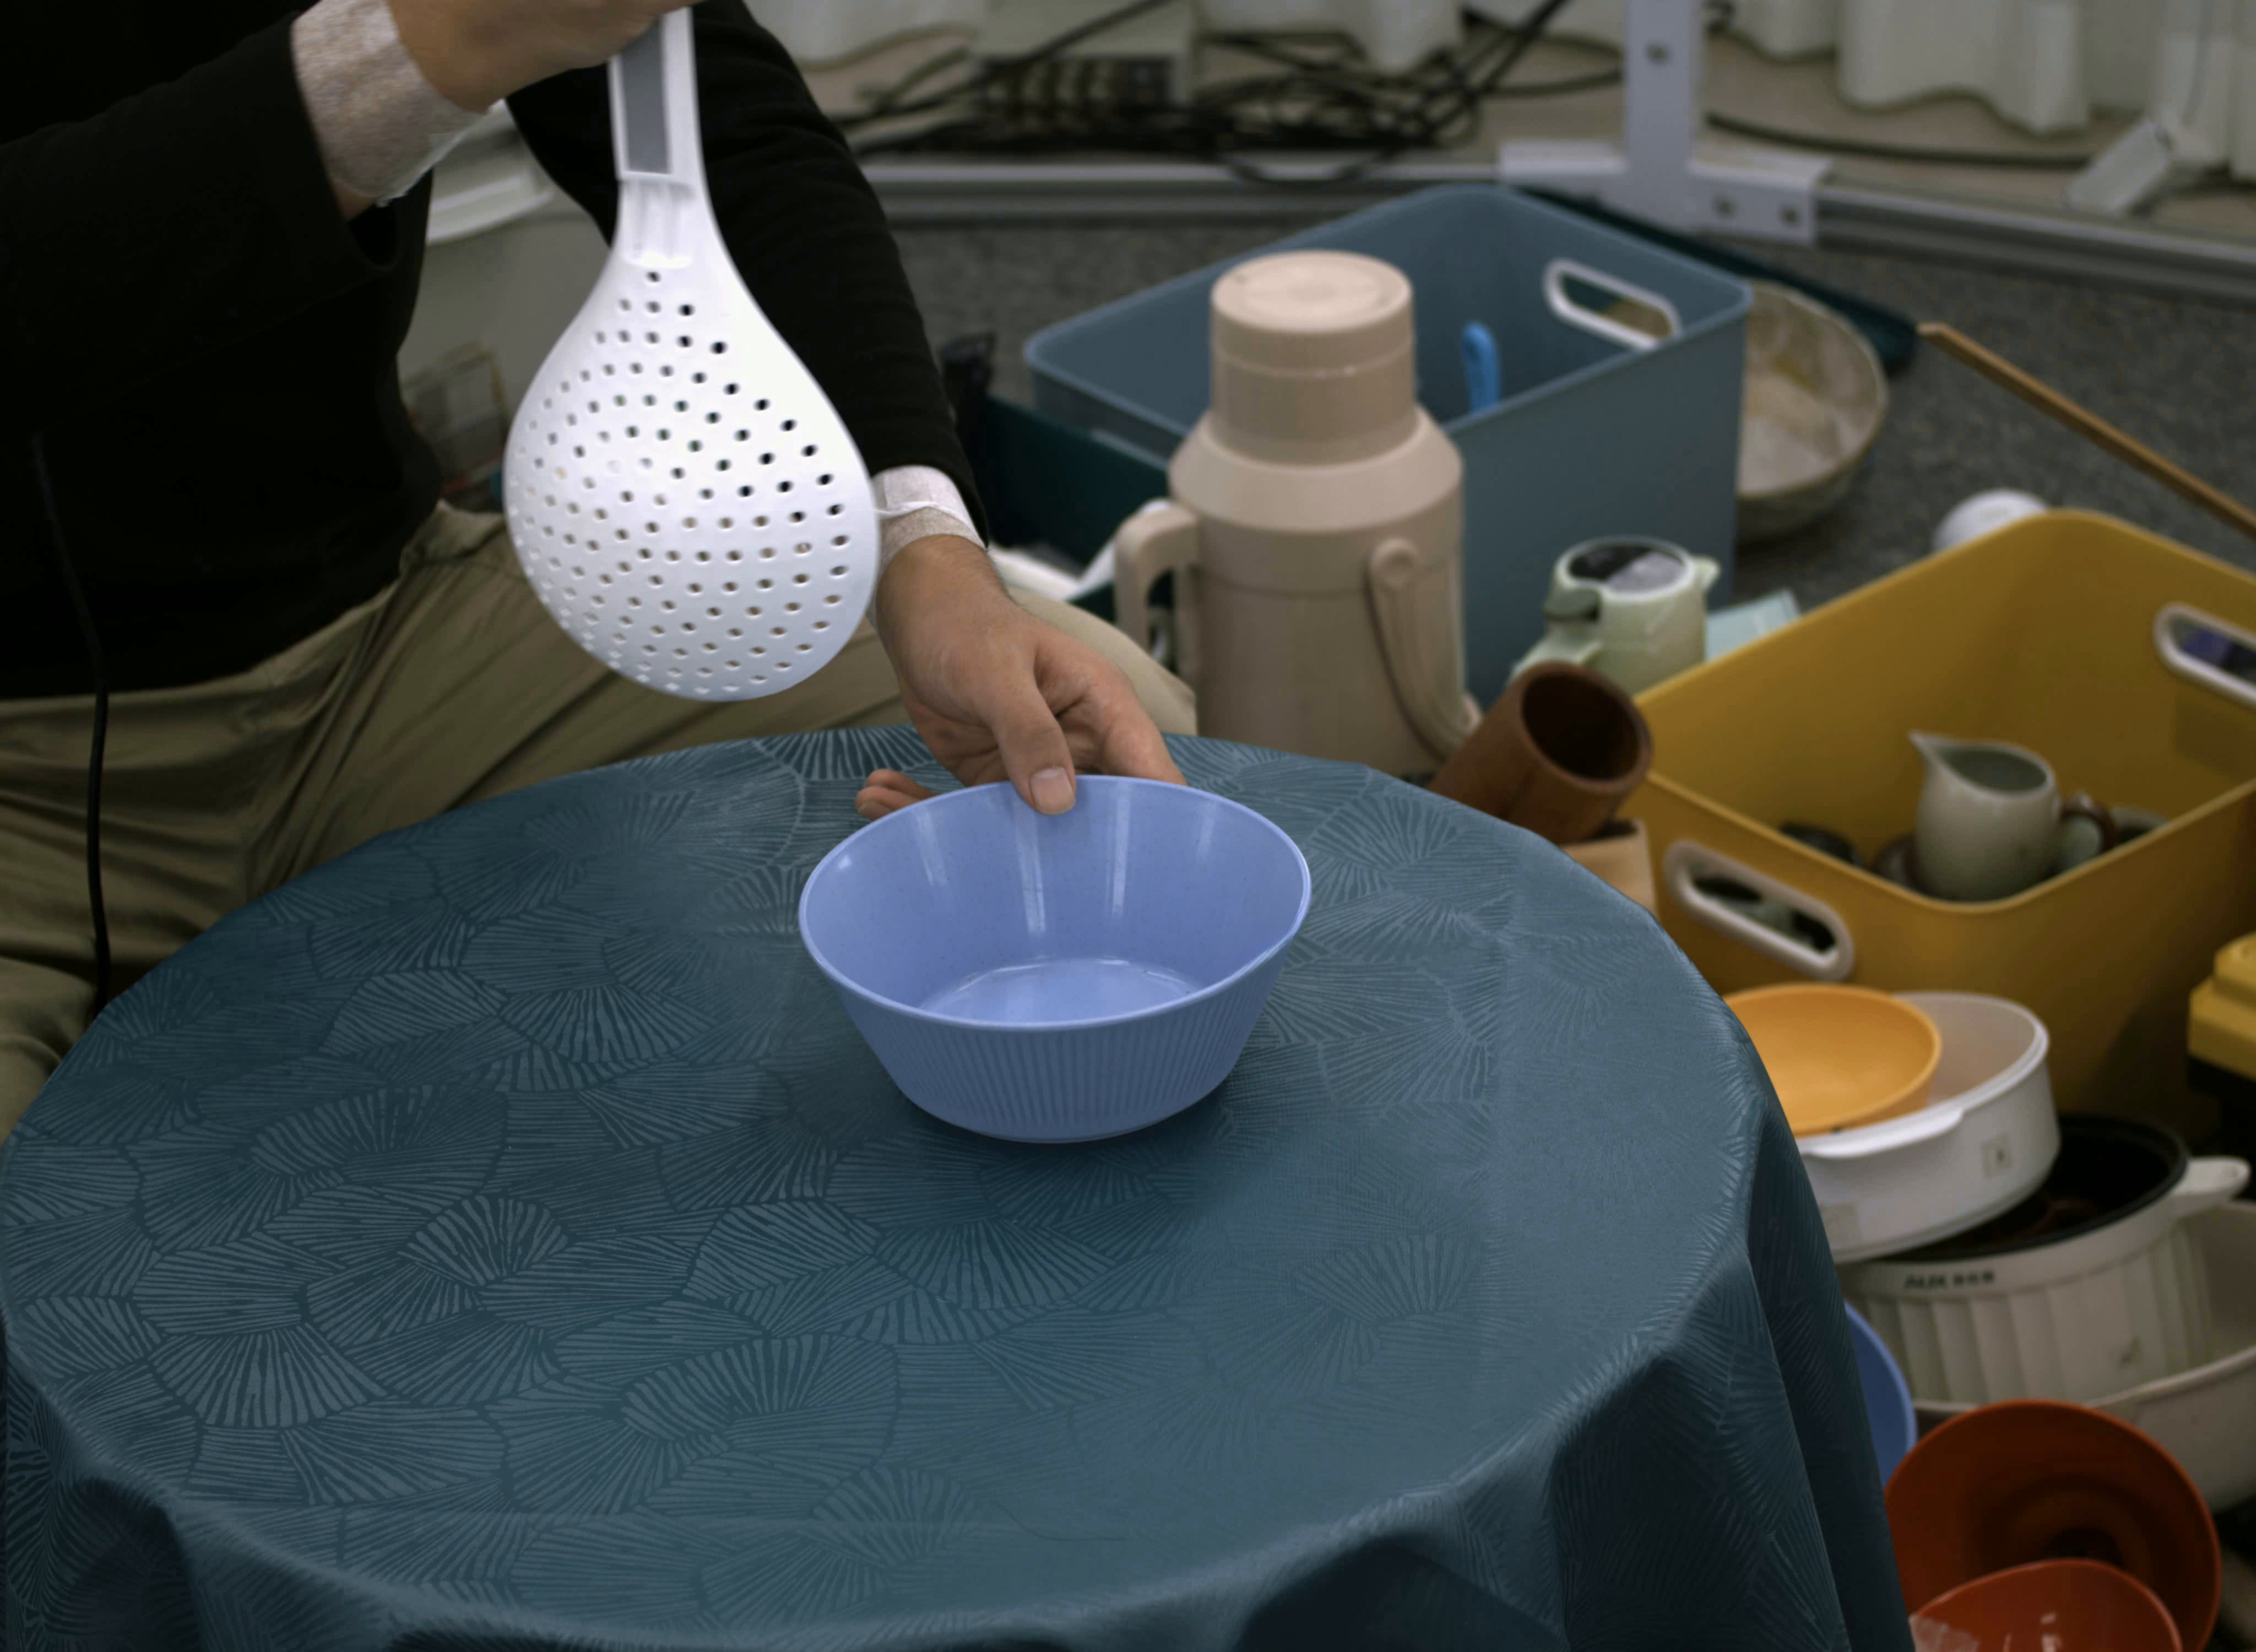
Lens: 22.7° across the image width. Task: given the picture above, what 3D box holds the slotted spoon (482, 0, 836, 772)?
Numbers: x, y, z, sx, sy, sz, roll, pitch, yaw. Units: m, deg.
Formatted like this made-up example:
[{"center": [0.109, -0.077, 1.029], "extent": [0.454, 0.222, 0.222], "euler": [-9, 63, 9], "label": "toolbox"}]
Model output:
[{"center": [-0.167, -0.181, 1.824], "extent": [0.135, 0.348, 0.046], "euler": [5, 16, 26], "label": "slotted spoon"}]

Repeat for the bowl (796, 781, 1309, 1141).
[{"center": [-0.024, 0.052, 1.924], "extent": [0.175, 0.069, 0.179], "euler": [-3, 26, 2], "label": "bowl"}]
